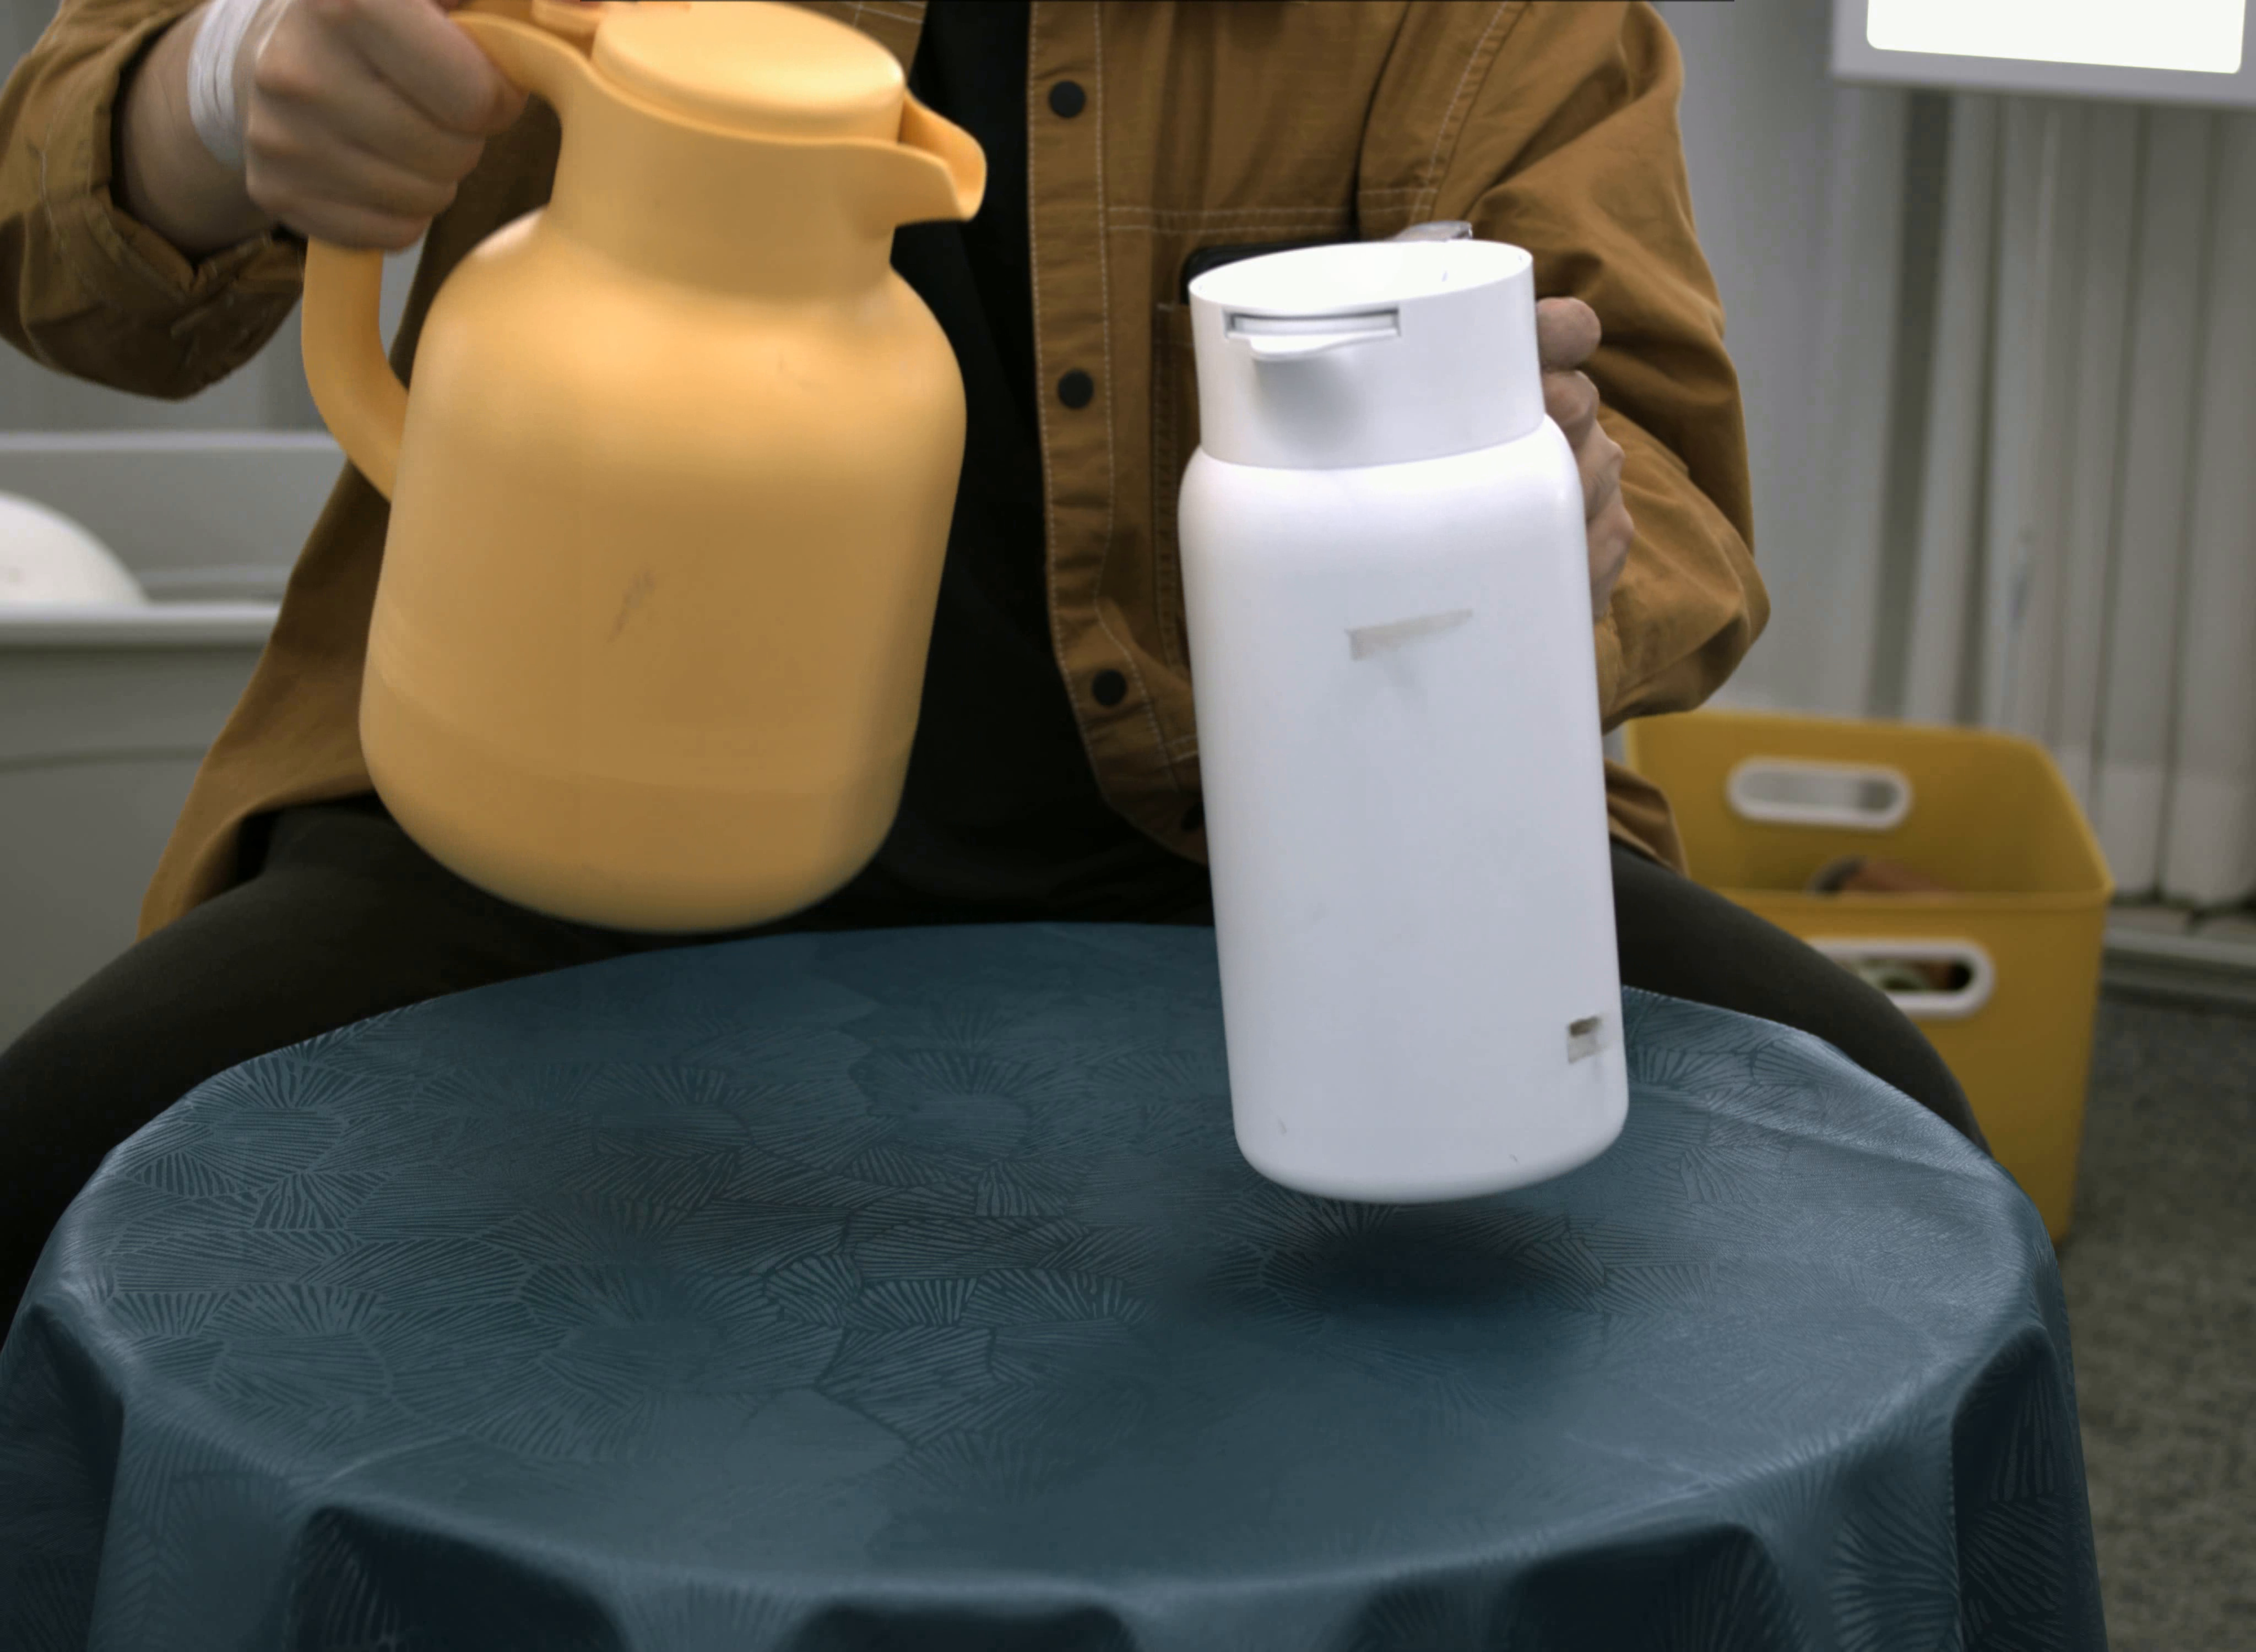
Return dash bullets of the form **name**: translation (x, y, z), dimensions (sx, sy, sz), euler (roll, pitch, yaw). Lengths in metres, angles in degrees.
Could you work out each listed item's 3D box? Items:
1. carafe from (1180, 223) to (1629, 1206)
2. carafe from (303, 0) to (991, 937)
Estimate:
- **carafe**: translation (0.084, -0.037, 1.537), dimensions (0.122, 0.271, 0.173), euler (-1, 16, 23)
- **carafe**: translation (-0.147, -0.116, 1.518), dimensions (0.200, 0.262, 0.163), euler (22, 24, 16)
